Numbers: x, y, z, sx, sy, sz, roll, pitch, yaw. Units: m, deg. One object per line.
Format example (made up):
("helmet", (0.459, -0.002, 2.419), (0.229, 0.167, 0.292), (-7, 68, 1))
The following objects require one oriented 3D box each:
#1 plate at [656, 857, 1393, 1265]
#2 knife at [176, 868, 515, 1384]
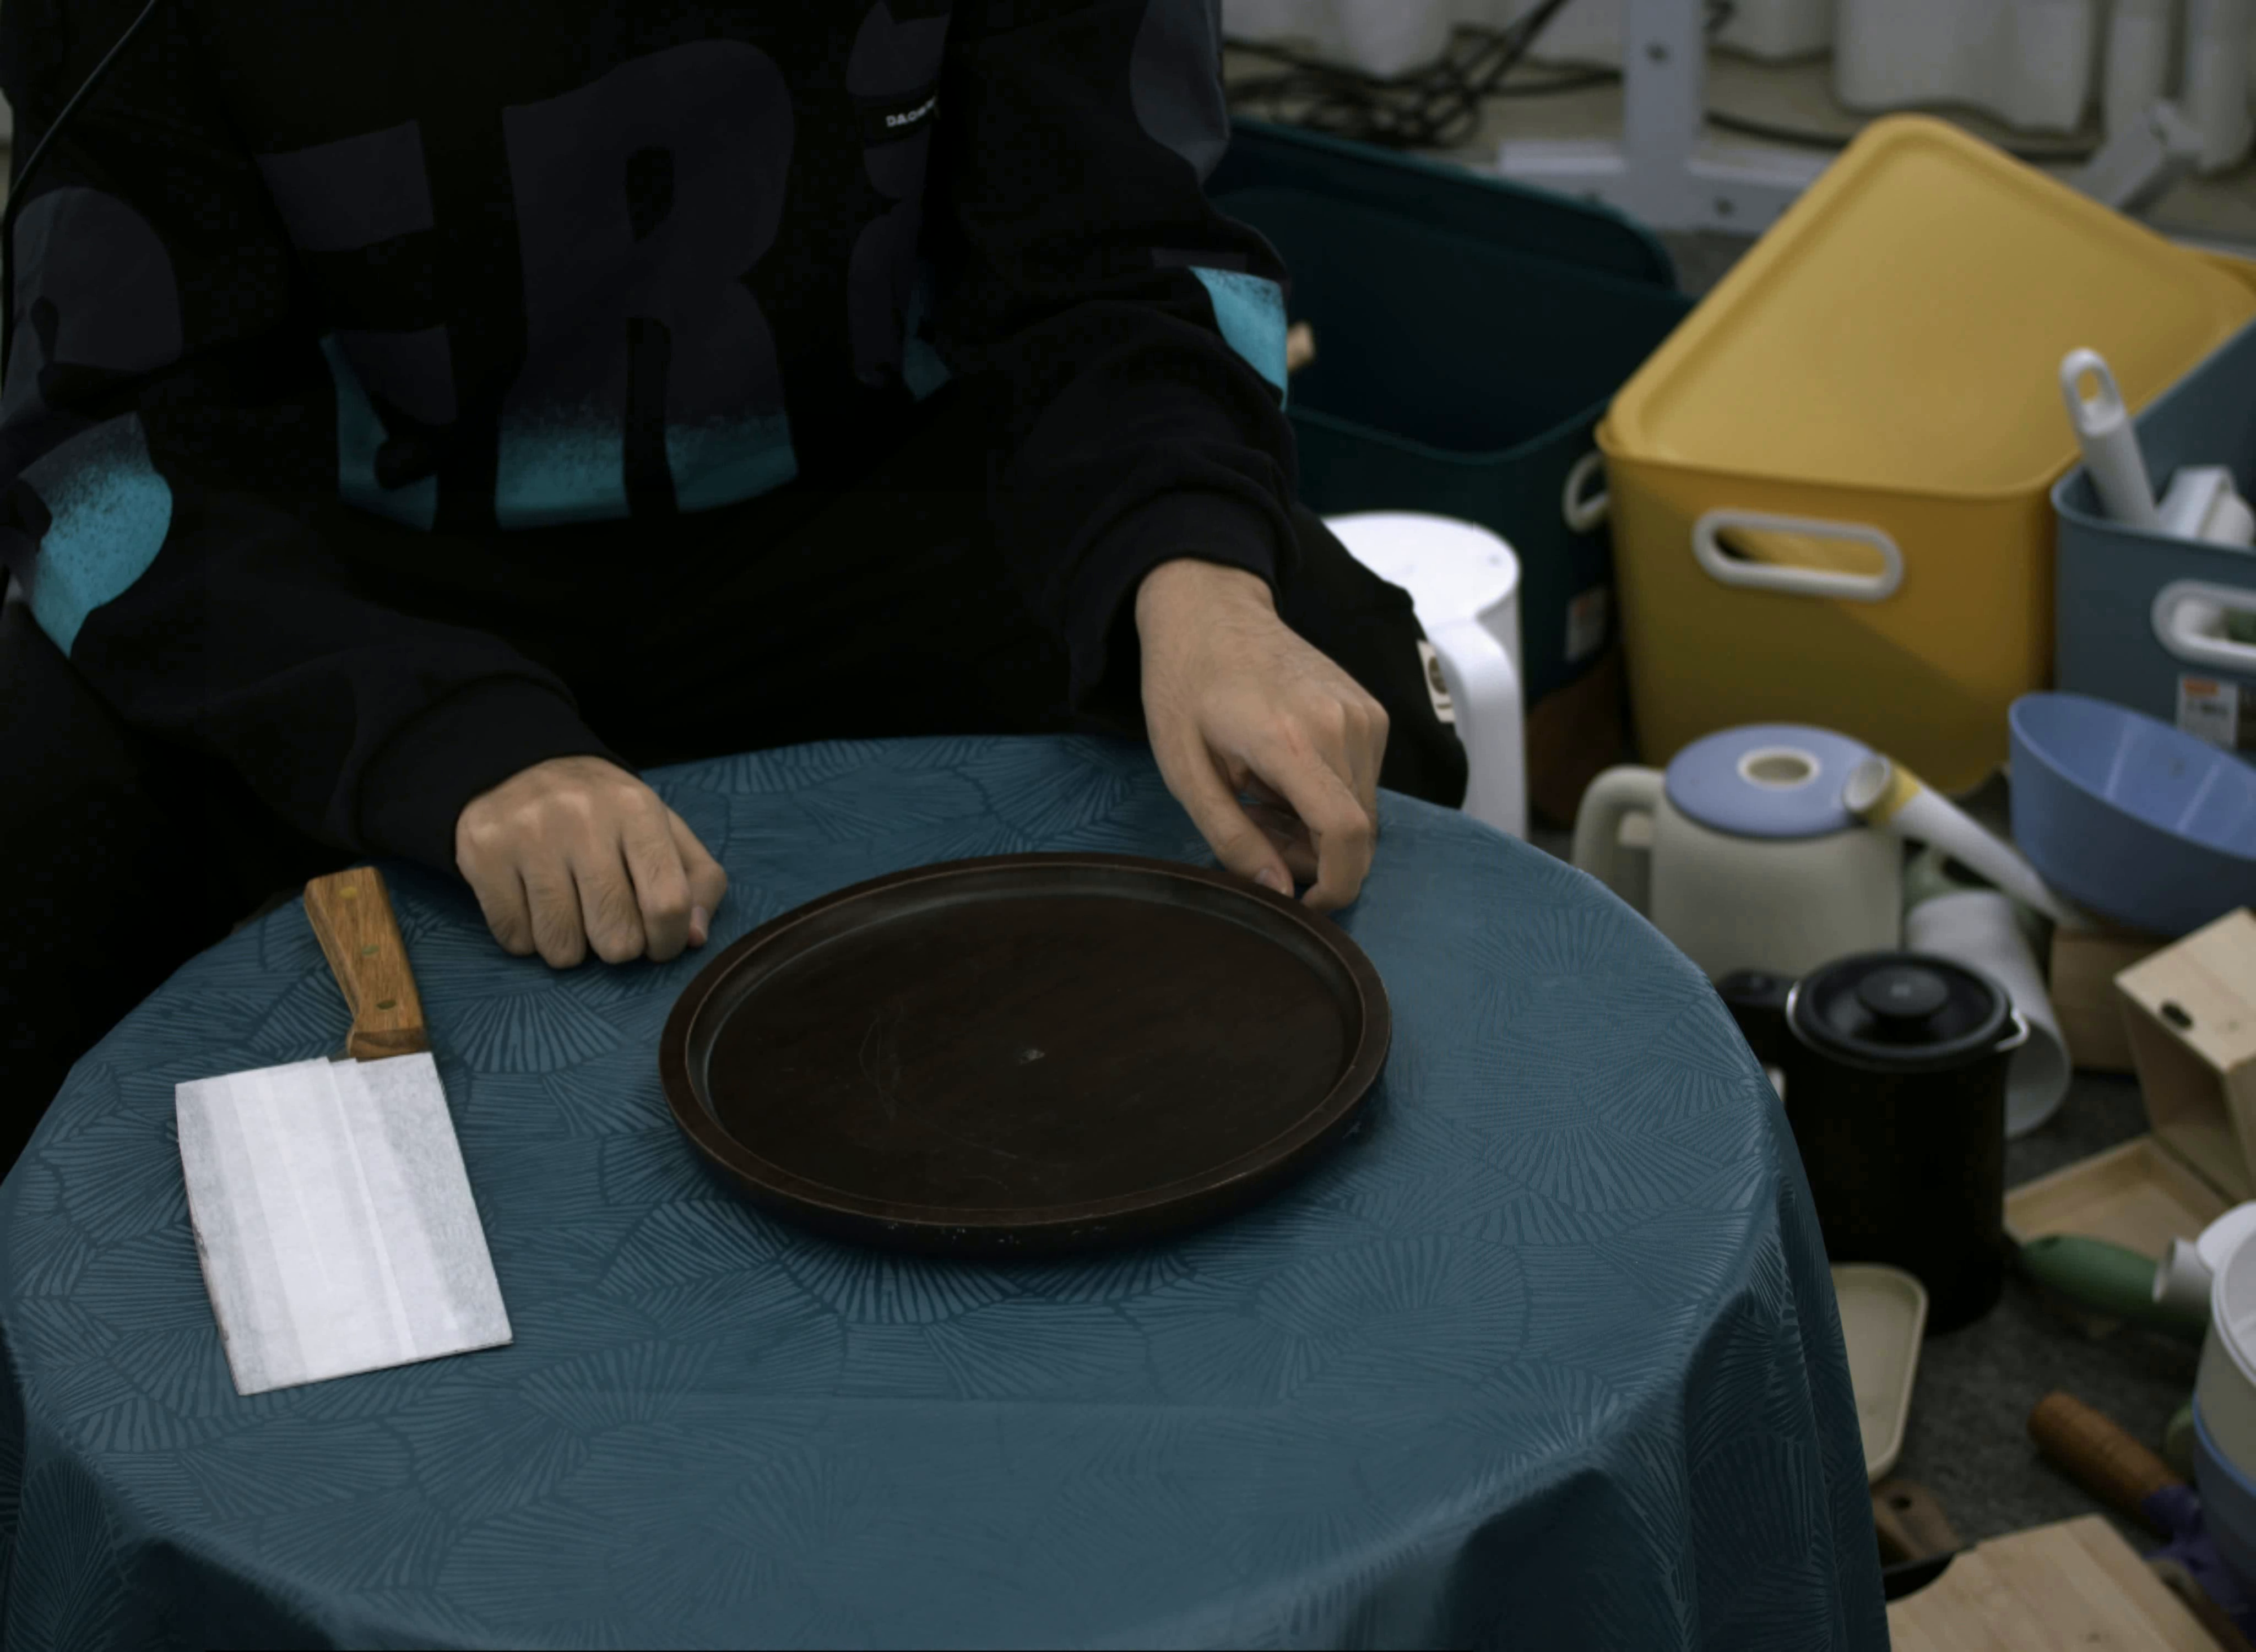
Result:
("plate", (-0.035, 0.078, 1.922), (0.253, 0.029, 0.259), (-3, 29, 2))
("knife", (-0.275, 0.101, 1.914), (0.093, 0.021, 0.309), (-10, 31, -11))
